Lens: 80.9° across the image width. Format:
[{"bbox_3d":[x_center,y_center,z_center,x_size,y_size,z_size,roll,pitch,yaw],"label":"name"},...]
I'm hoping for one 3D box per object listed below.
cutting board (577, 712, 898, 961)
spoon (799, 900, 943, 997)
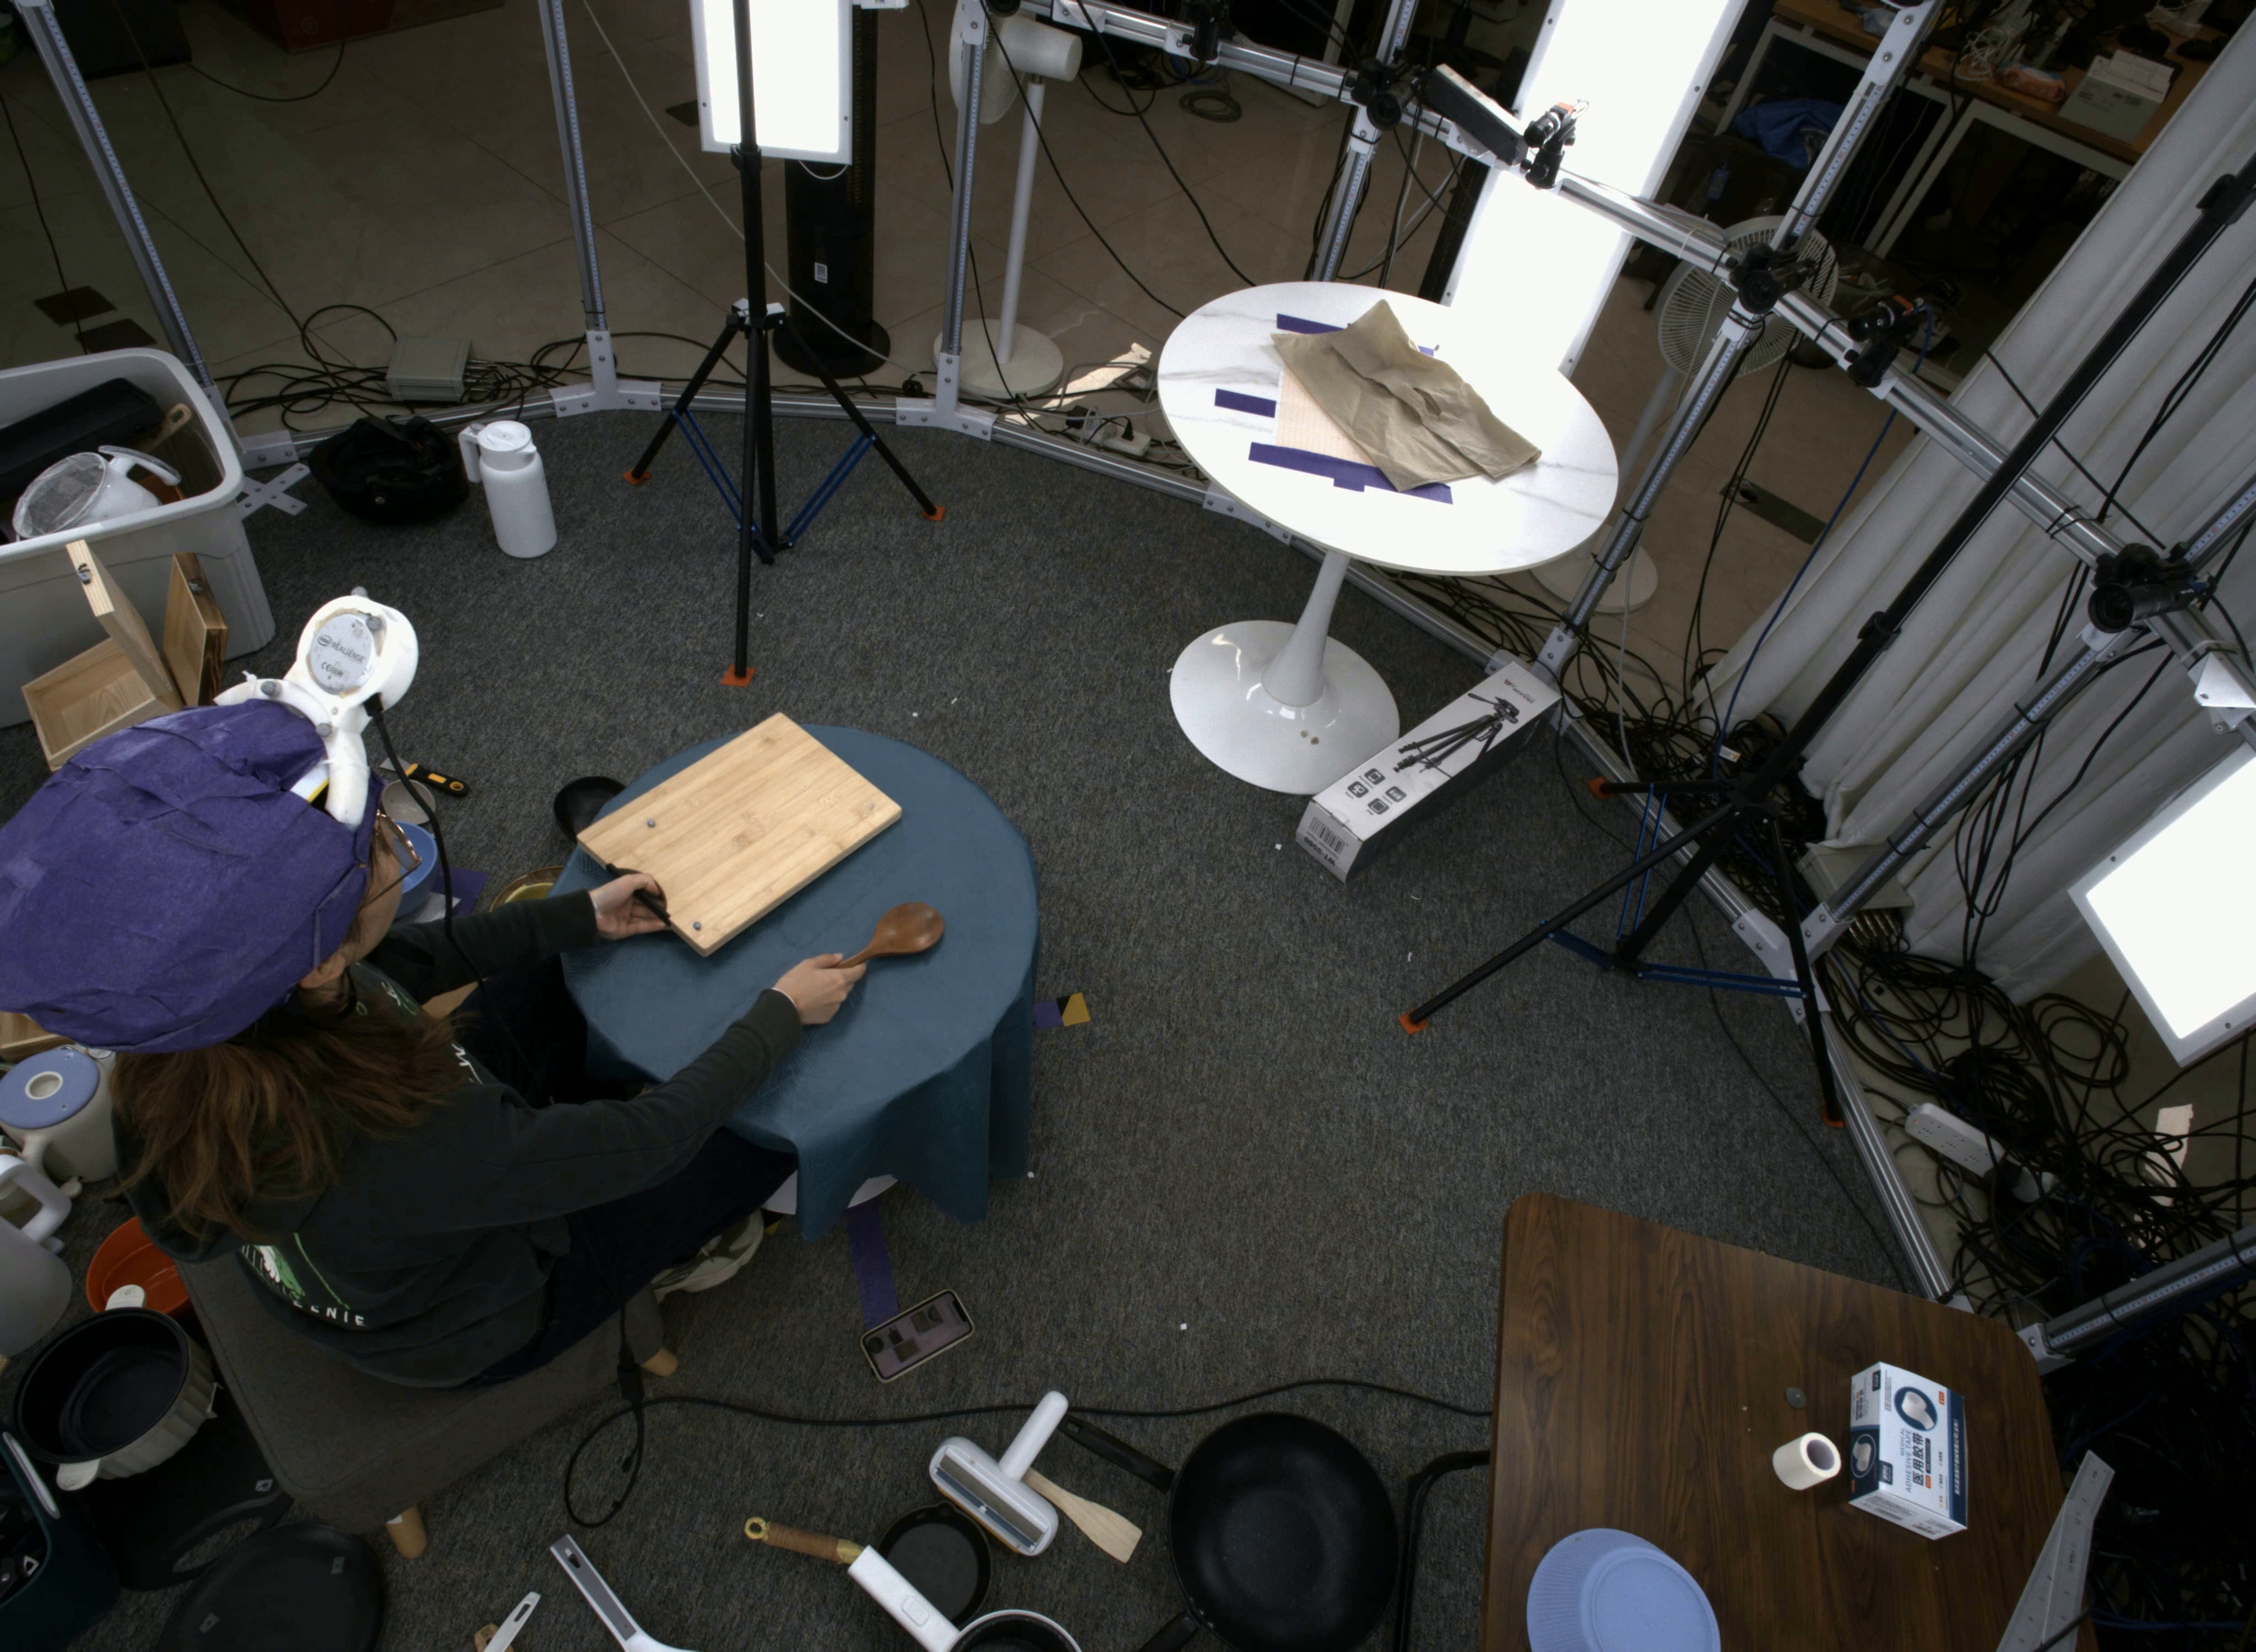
[{"bbox_3d":[-0.504,0.002,1.681,0.245,0.024,0.349,36,49,14],"label":"cutting board"},{"bbox_3d":[-0.319,0.153,1.614,0.074,0.017,0.217,45,46,15],"label":"spoon"}]
